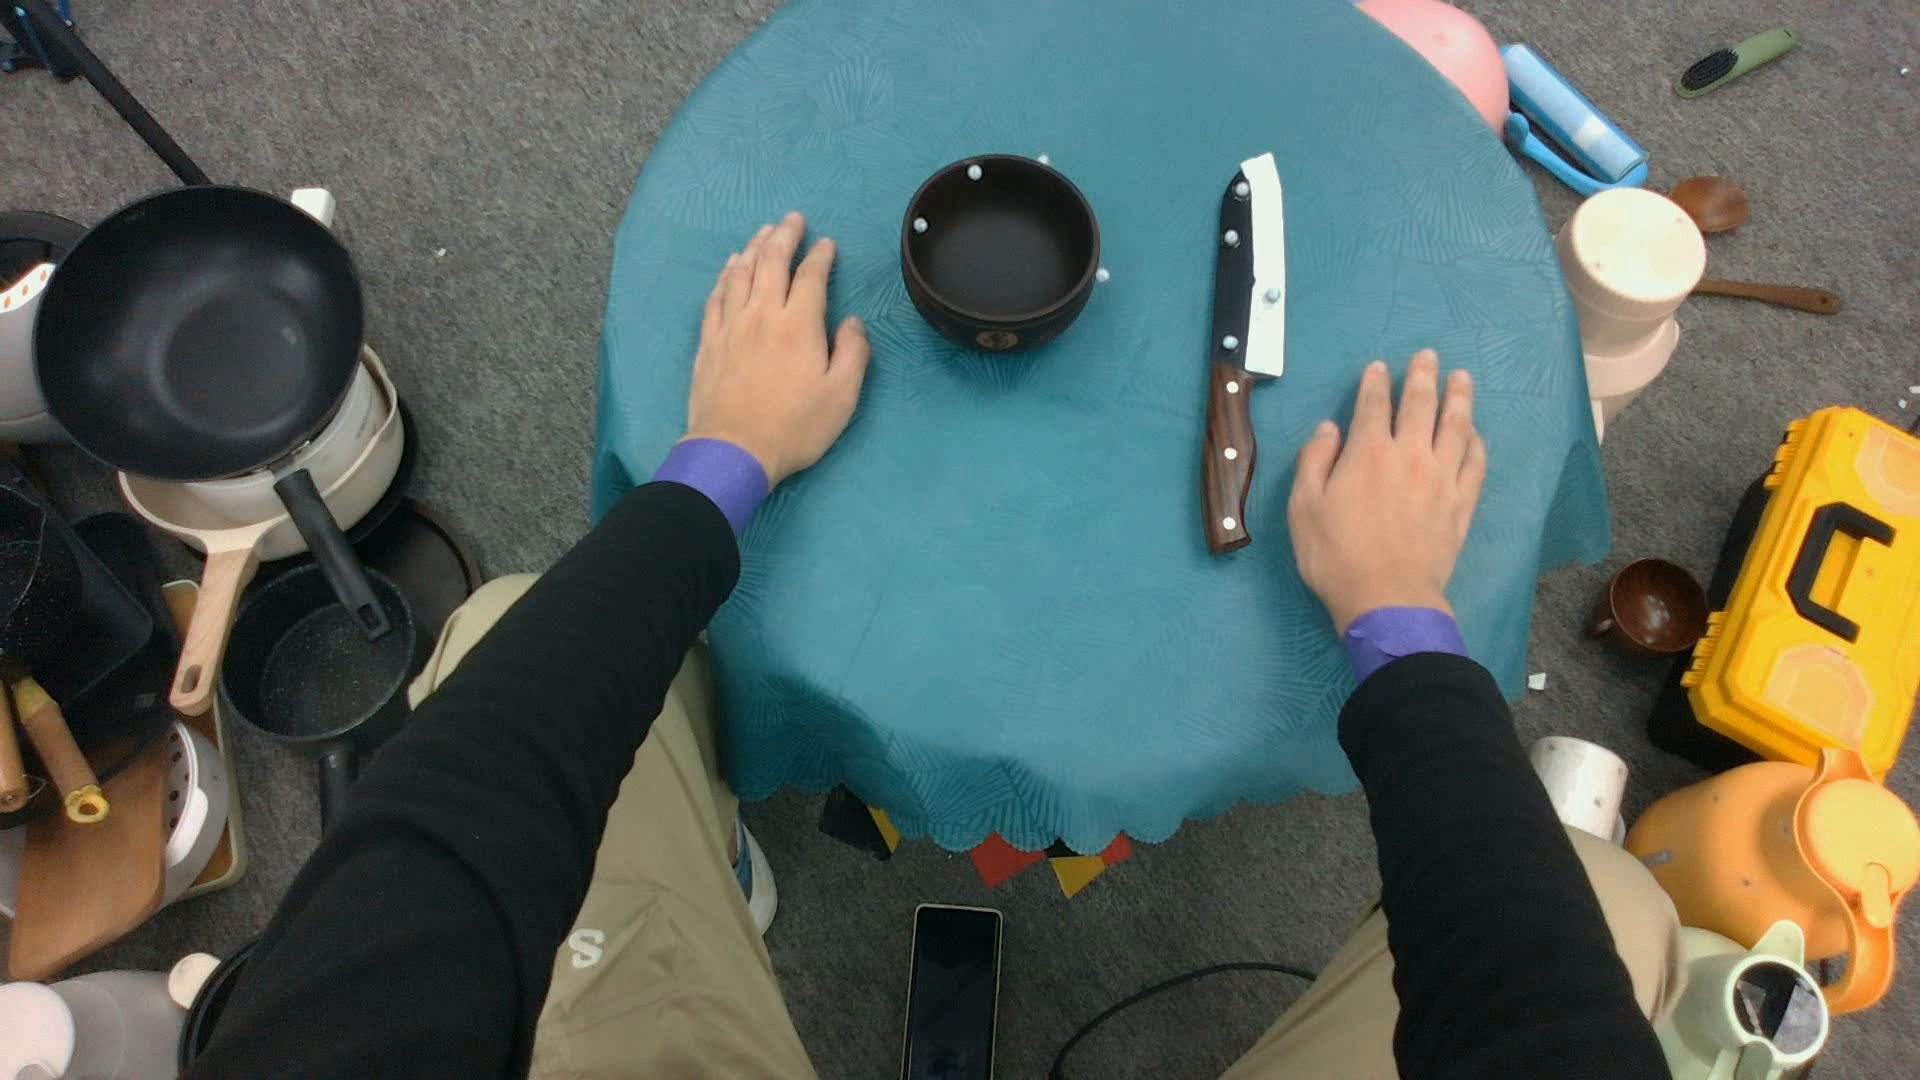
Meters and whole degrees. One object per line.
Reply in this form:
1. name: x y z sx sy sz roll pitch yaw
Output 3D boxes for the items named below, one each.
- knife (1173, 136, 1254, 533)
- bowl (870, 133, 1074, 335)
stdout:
1. knife: 0.156 -0.134 0.841 0.050 0.020 0.290 10 66 -3
2. bowl: 0.006 -0.174 0.818 0.118 0.069 0.118 1 69 -2
